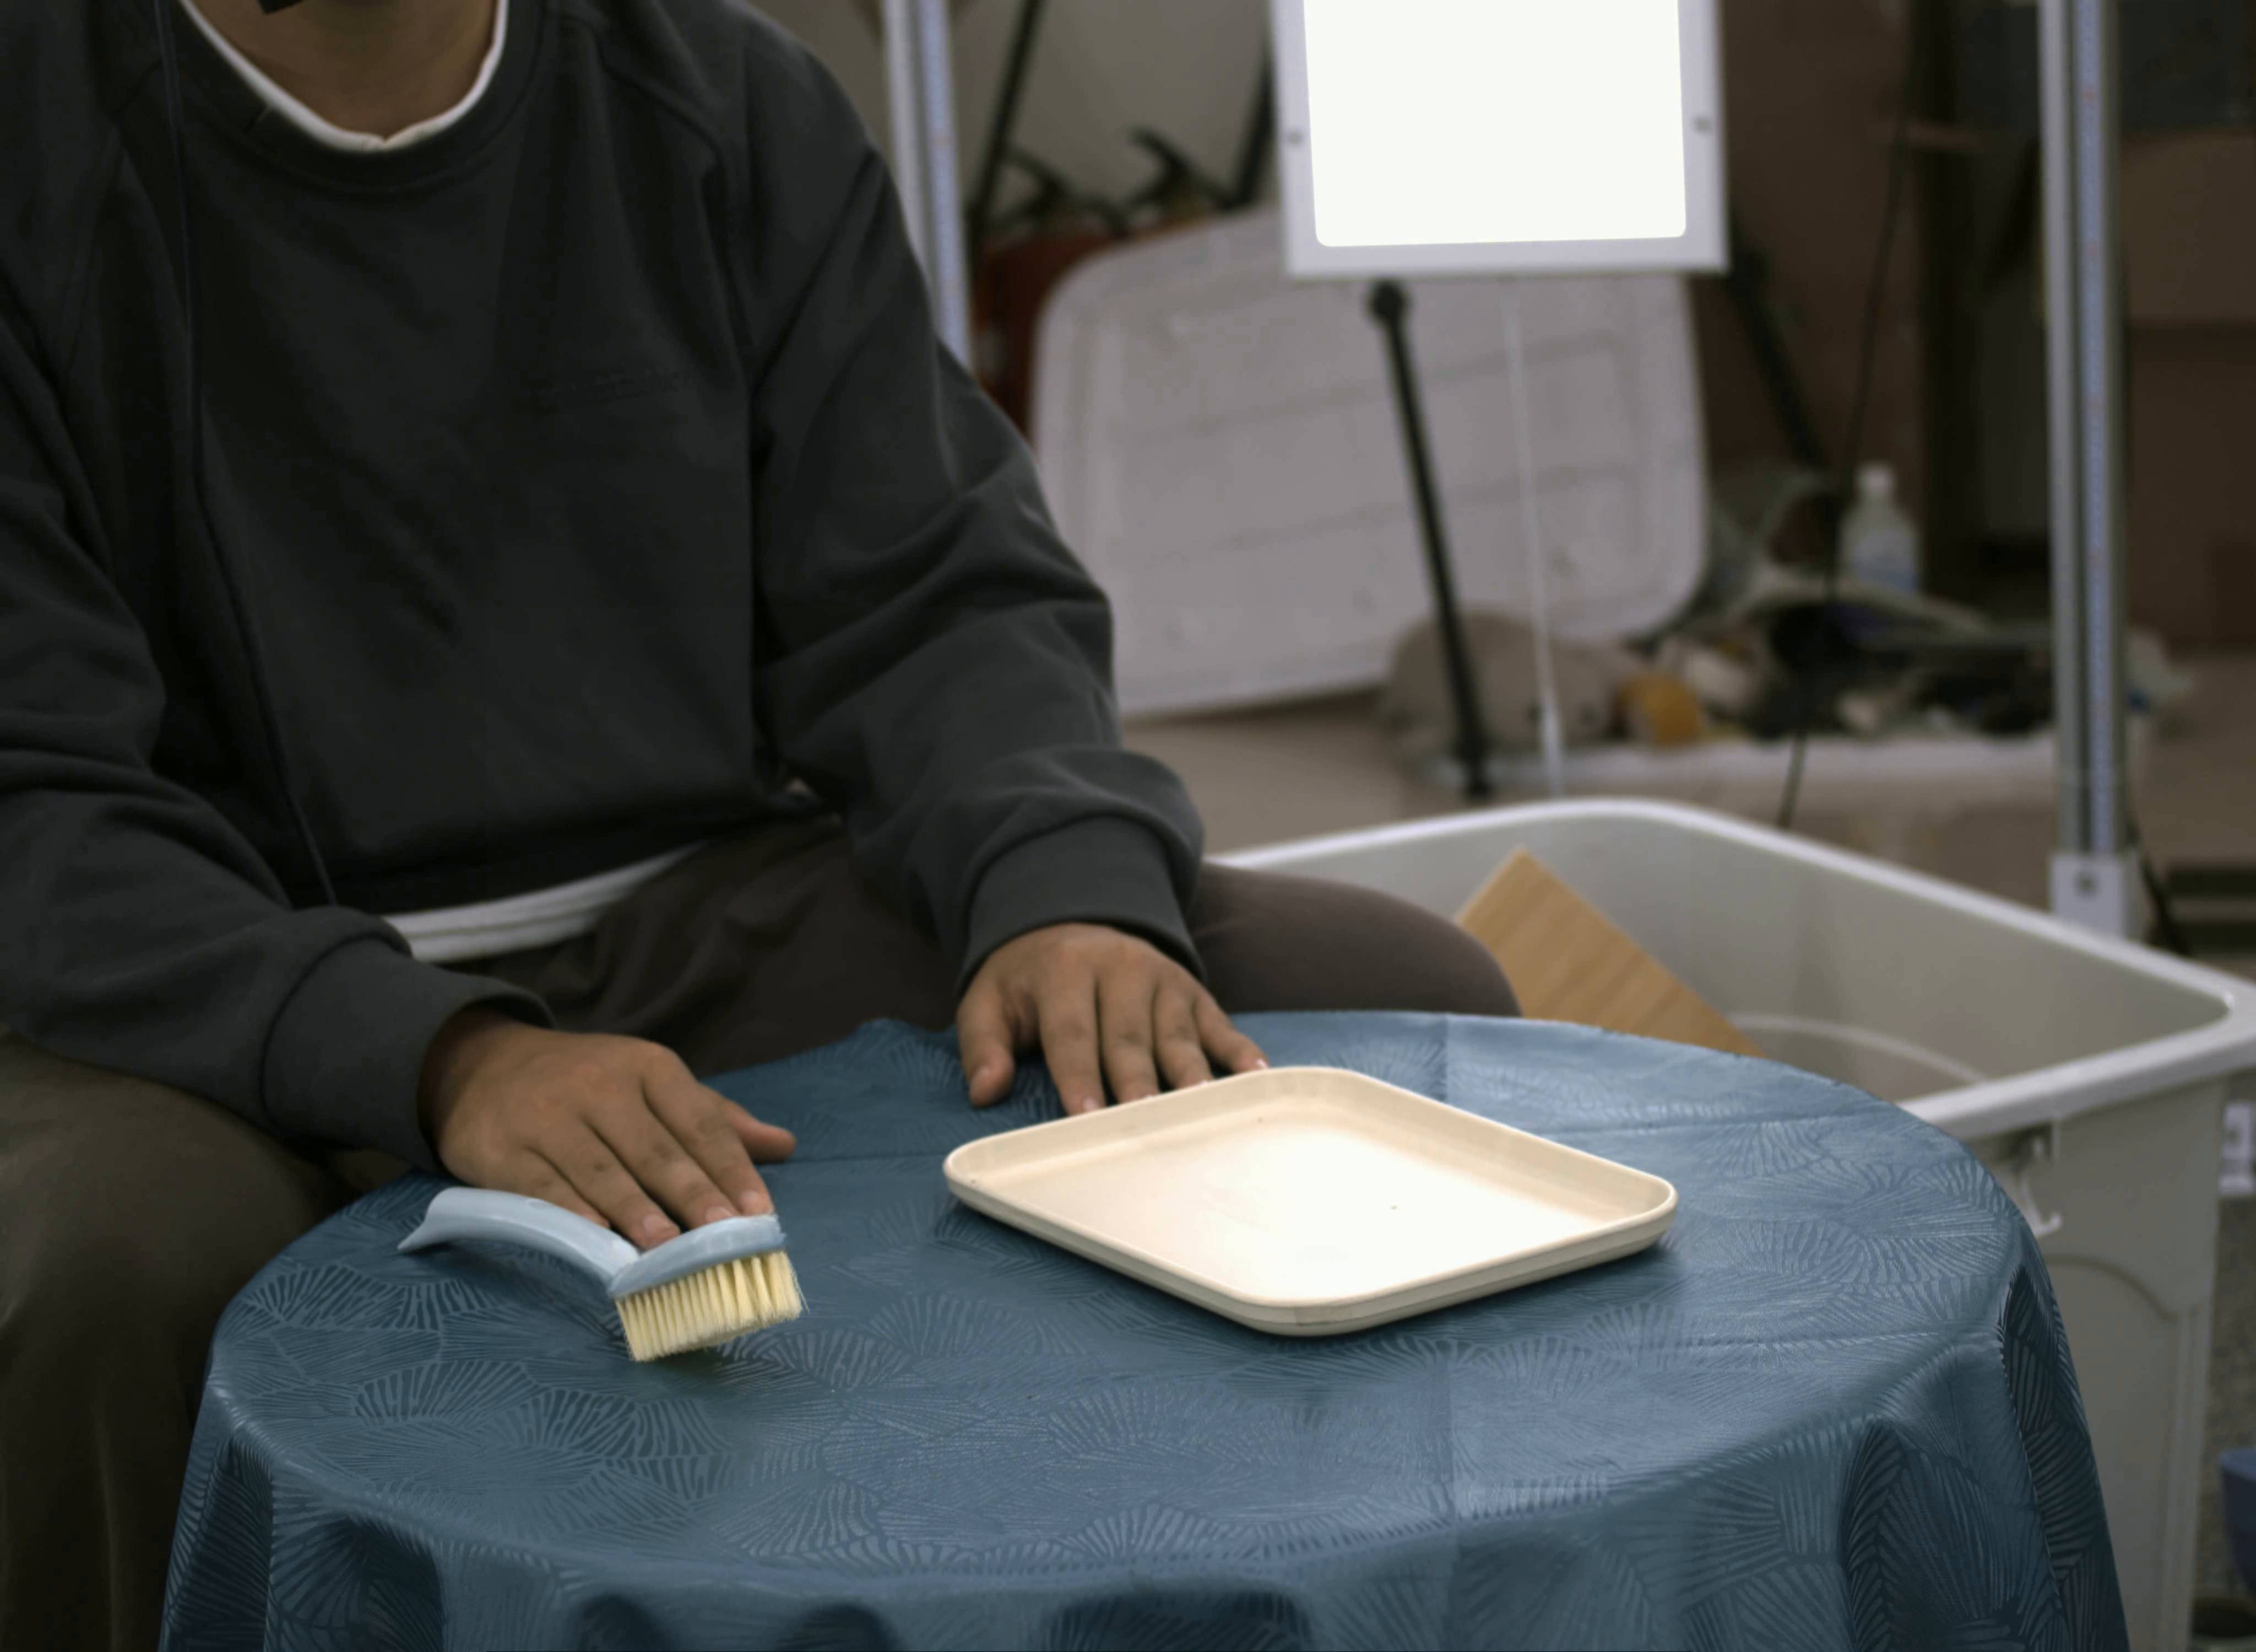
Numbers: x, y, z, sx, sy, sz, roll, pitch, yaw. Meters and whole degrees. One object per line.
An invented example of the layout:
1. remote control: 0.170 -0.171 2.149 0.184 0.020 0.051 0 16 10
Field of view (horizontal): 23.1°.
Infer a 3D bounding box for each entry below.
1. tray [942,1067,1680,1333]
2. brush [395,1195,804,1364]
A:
1. tray: 0.059 0.124 1.847 0.167 0.017 0.244 -12 15 -29
2. brush: -0.178 0.147 1.812 0.037 0.050 0.234 -7 3 -37
